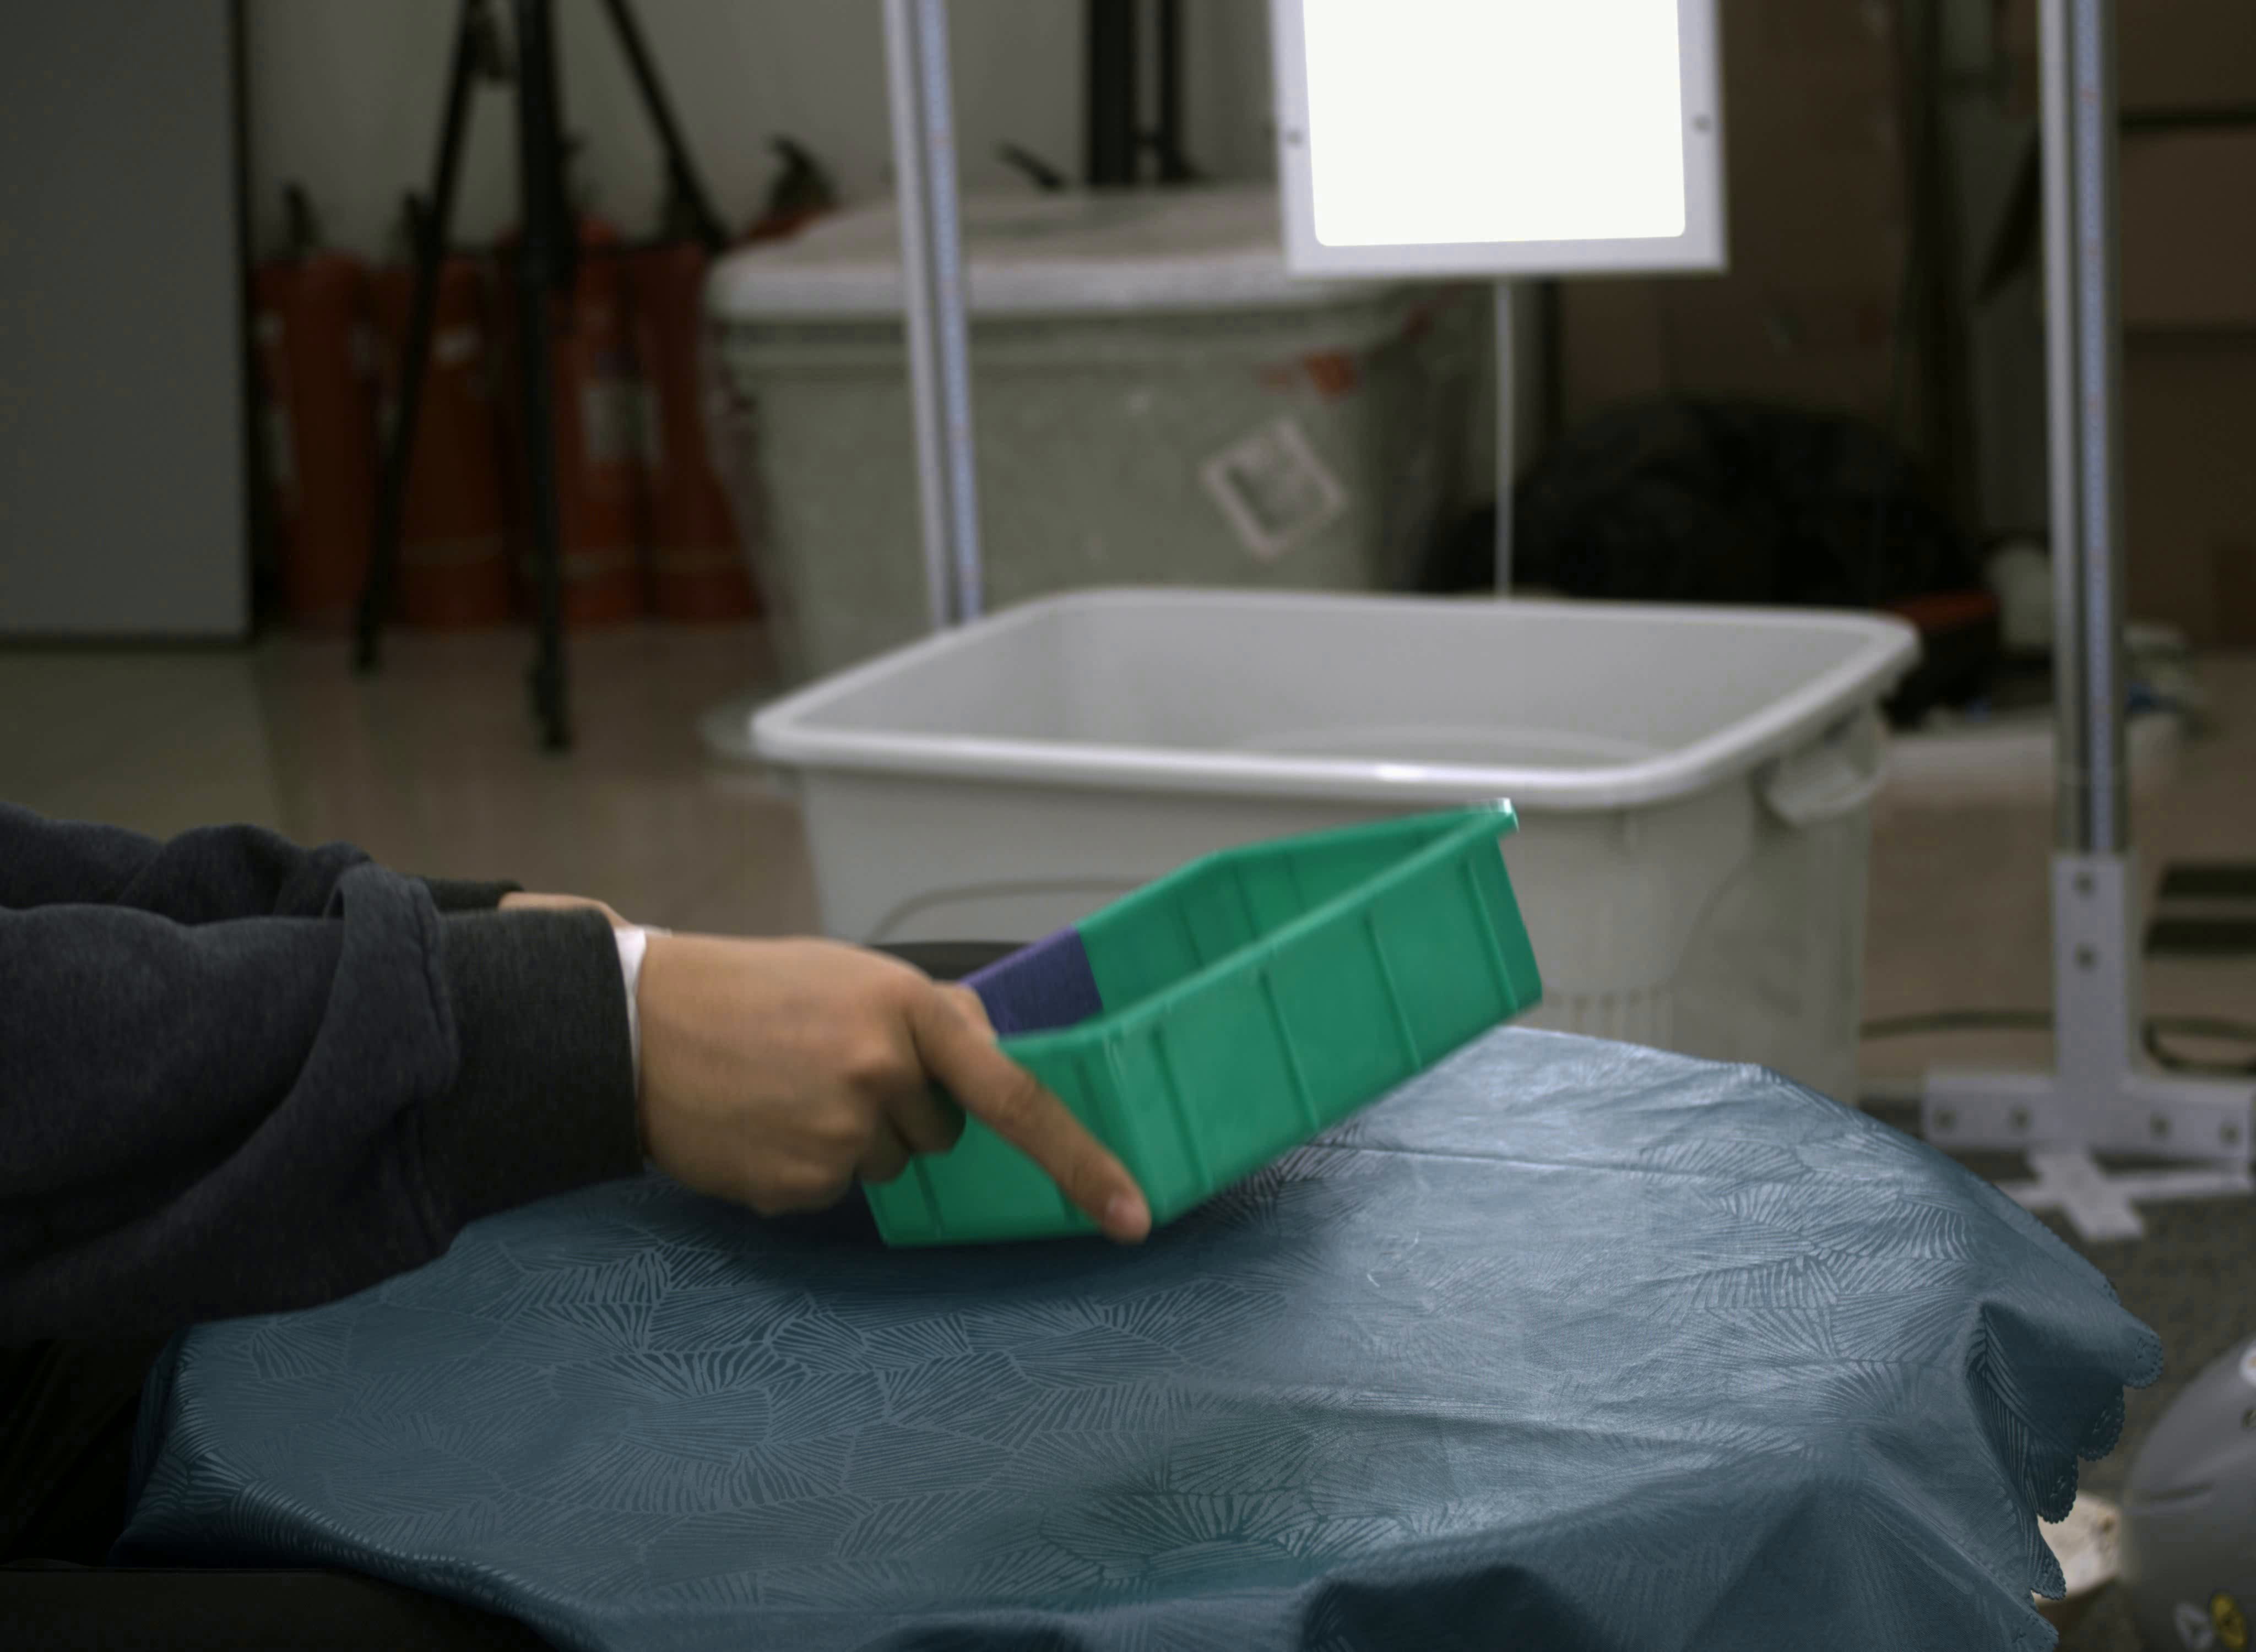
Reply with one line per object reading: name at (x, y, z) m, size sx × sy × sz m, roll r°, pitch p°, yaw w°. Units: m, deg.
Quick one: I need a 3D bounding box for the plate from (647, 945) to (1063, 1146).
plate at (-0.047, 0.081, 1.922) m, size 0.243 × 0.023 × 0.244 m, roll 0°, pitch 13°, yaw -1°

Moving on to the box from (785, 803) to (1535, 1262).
box at (0.016, 0.062, 1.622) m, size 0.142 × 0.065 × 0.205 m, roll -11°, pitch 13°, yaw 47°
